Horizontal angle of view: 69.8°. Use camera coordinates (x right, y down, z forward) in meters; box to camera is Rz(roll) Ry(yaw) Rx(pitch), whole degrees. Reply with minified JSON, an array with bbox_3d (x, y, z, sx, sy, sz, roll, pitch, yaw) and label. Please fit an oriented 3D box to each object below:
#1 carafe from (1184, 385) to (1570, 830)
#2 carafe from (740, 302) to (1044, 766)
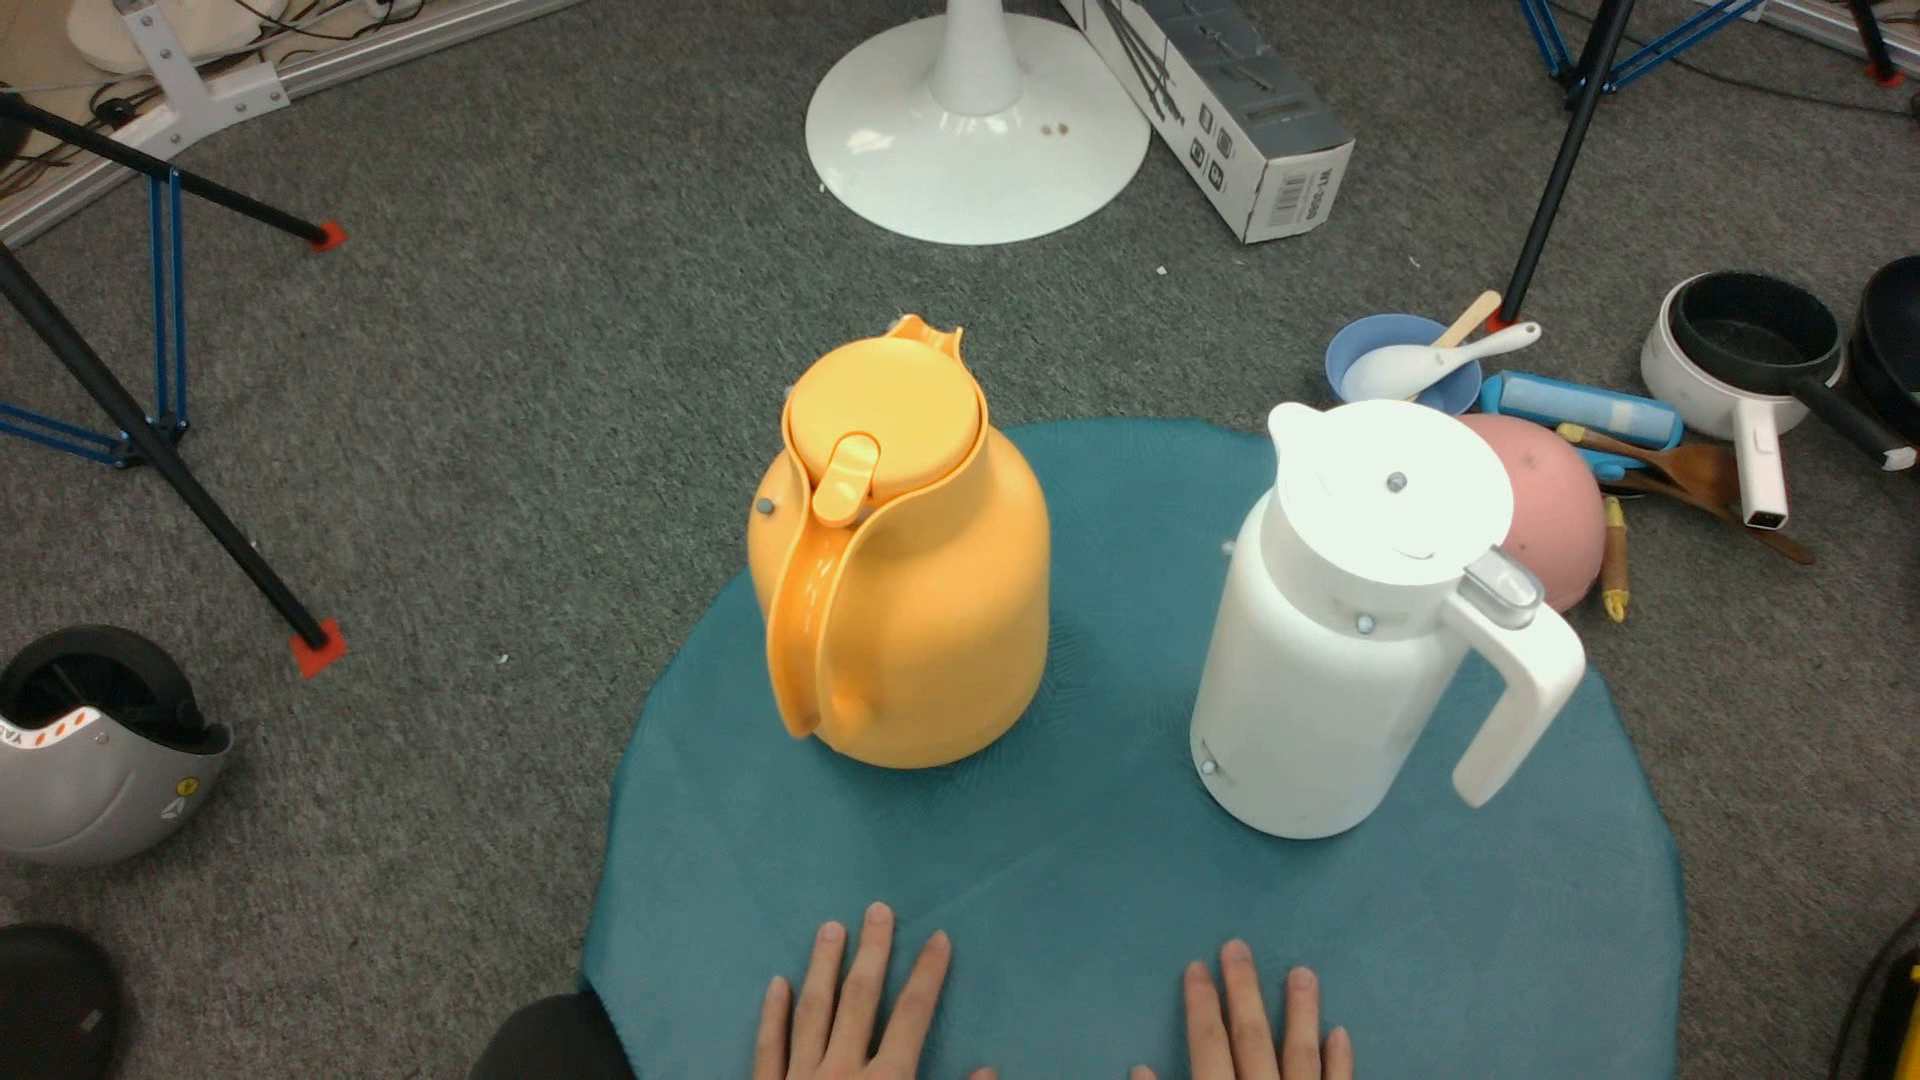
[{"bbox_3d":[0.198,0.056,0.695,0.124,0.267,0.173,-34,62,-22],"label":"carafe"},{"bbox_3d":[-0.044,0.016,0.728,0.163,0.259,0.203,17,56,15],"label":"carafe"}]
